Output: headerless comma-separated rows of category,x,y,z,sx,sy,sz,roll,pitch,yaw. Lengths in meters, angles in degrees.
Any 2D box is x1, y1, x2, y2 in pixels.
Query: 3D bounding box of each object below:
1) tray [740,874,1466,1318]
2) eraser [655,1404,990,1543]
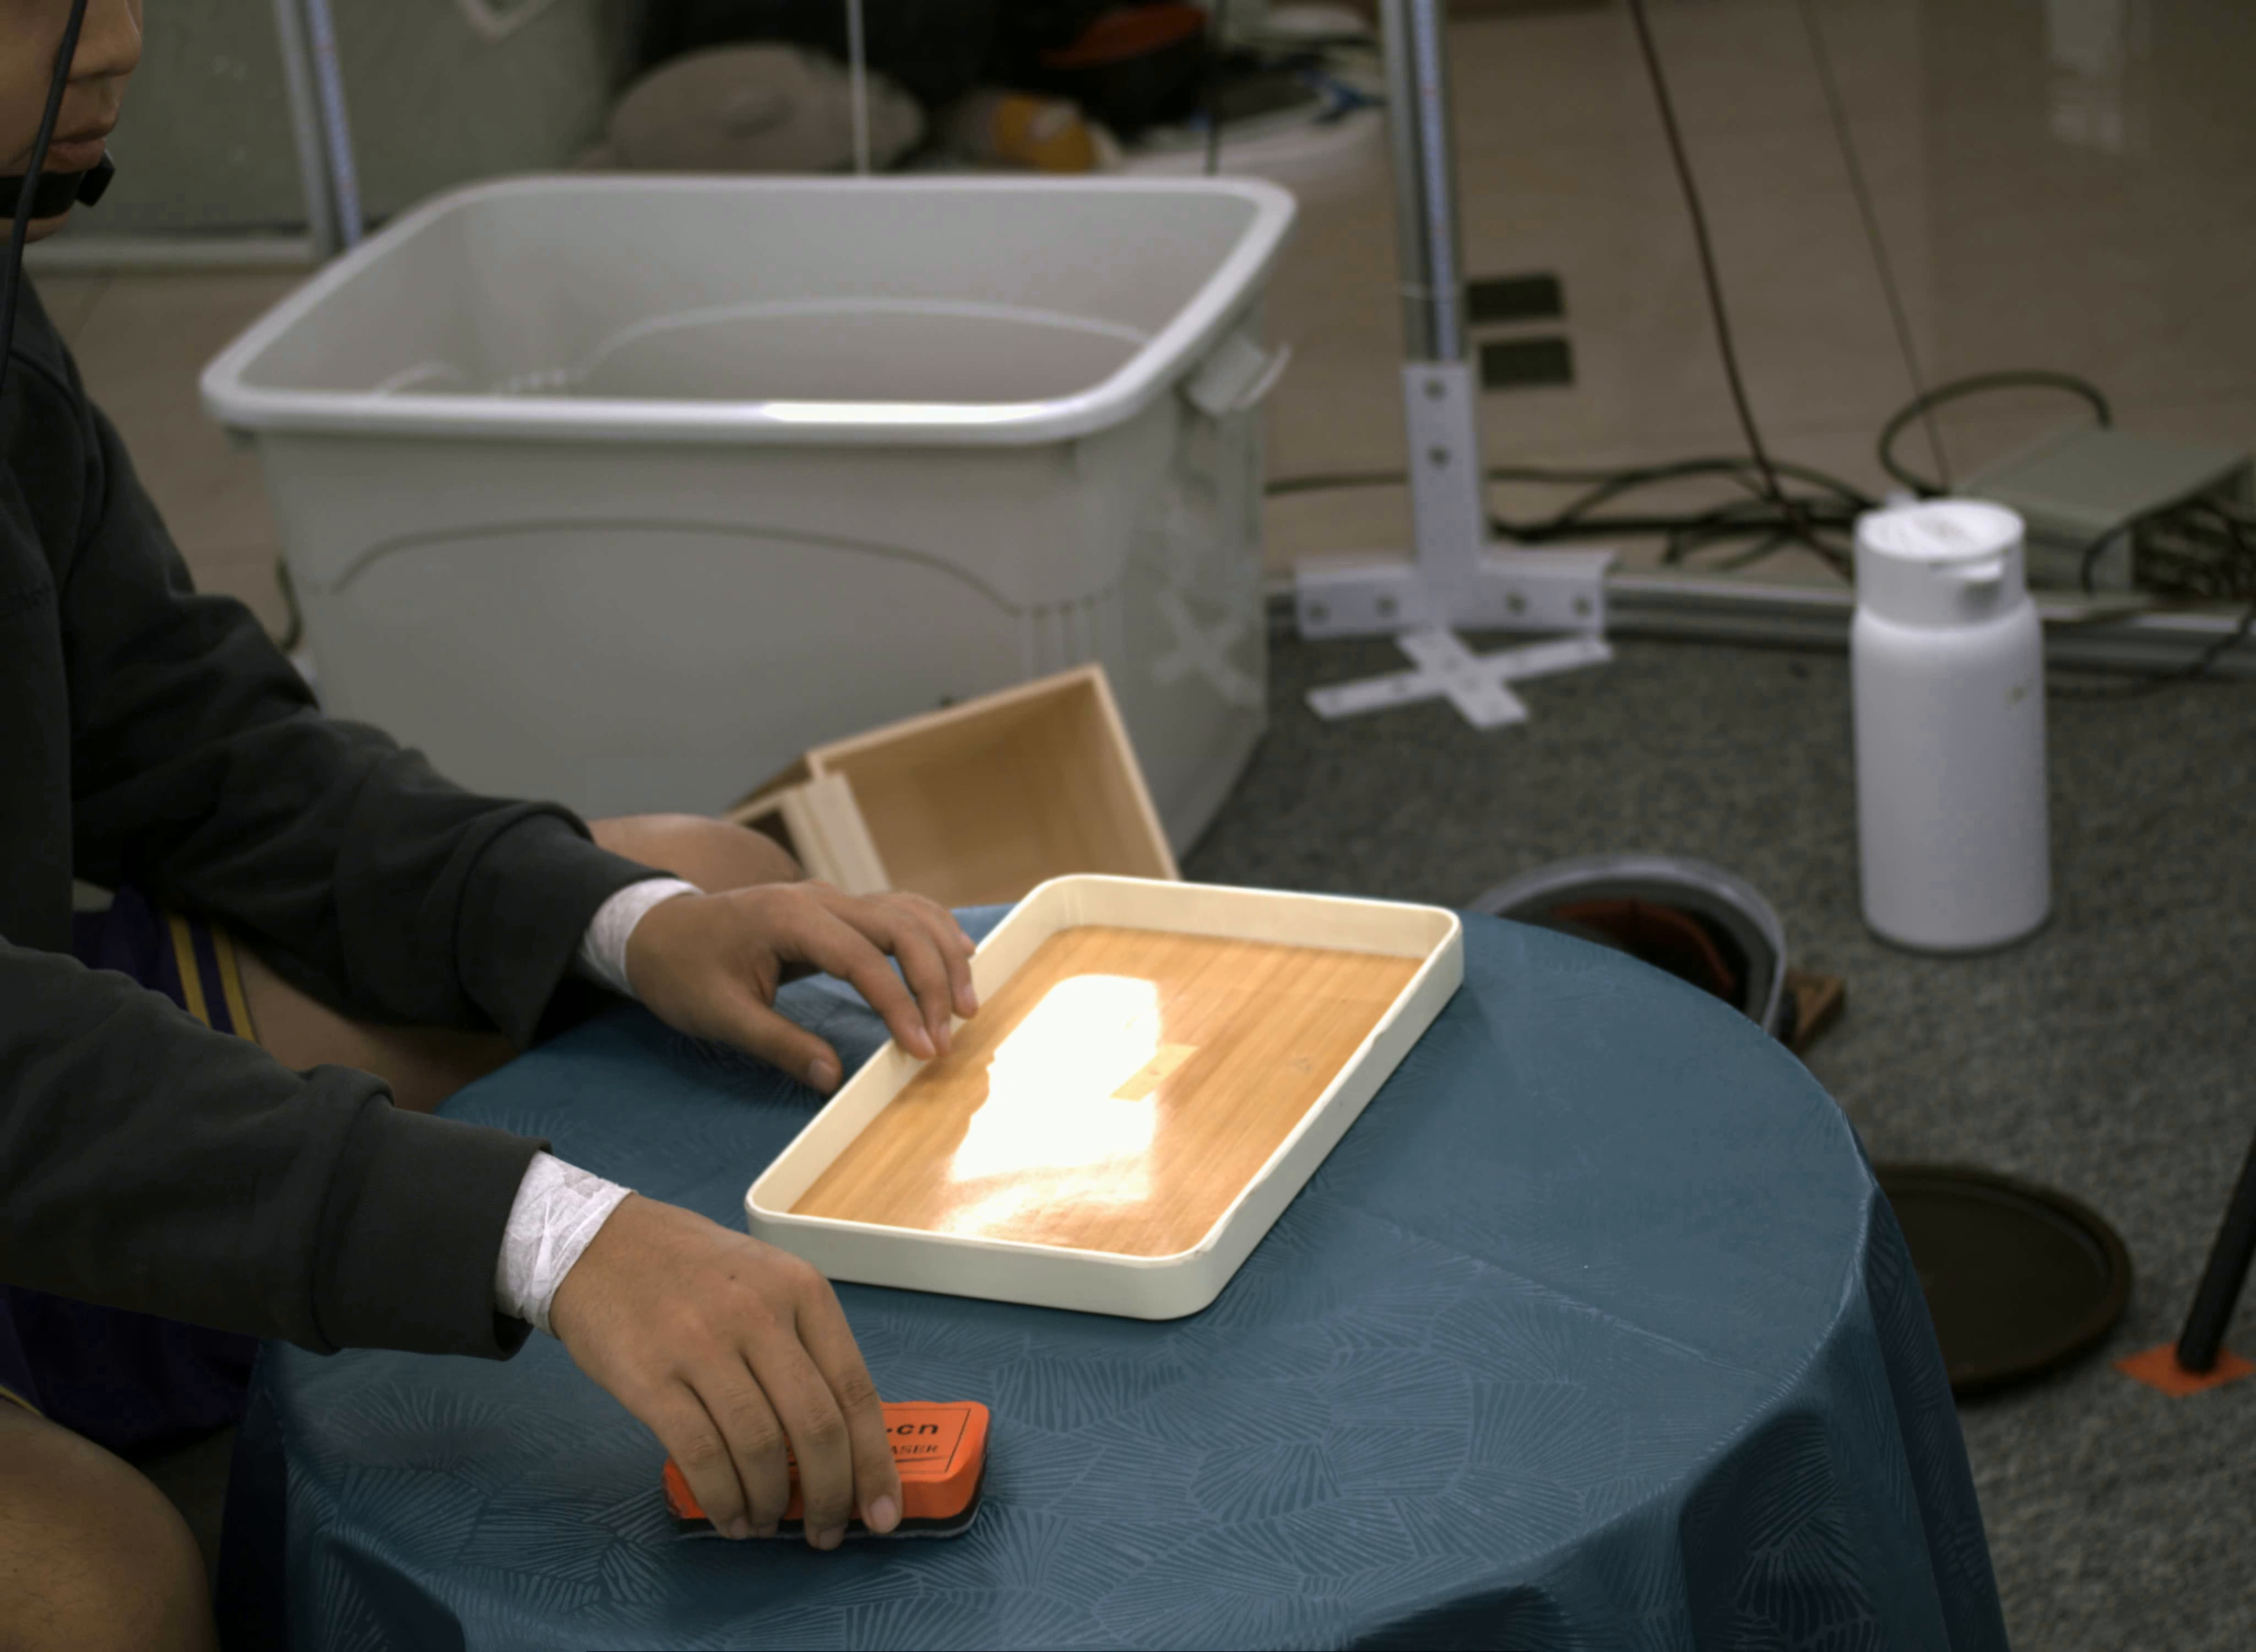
tray,-0.004,0.100,2.200,0.191,0.028,0.296,5,27,24
eraser,-0.105,0.223,1.964,0.108,0.023,0.058,-1,25,15
